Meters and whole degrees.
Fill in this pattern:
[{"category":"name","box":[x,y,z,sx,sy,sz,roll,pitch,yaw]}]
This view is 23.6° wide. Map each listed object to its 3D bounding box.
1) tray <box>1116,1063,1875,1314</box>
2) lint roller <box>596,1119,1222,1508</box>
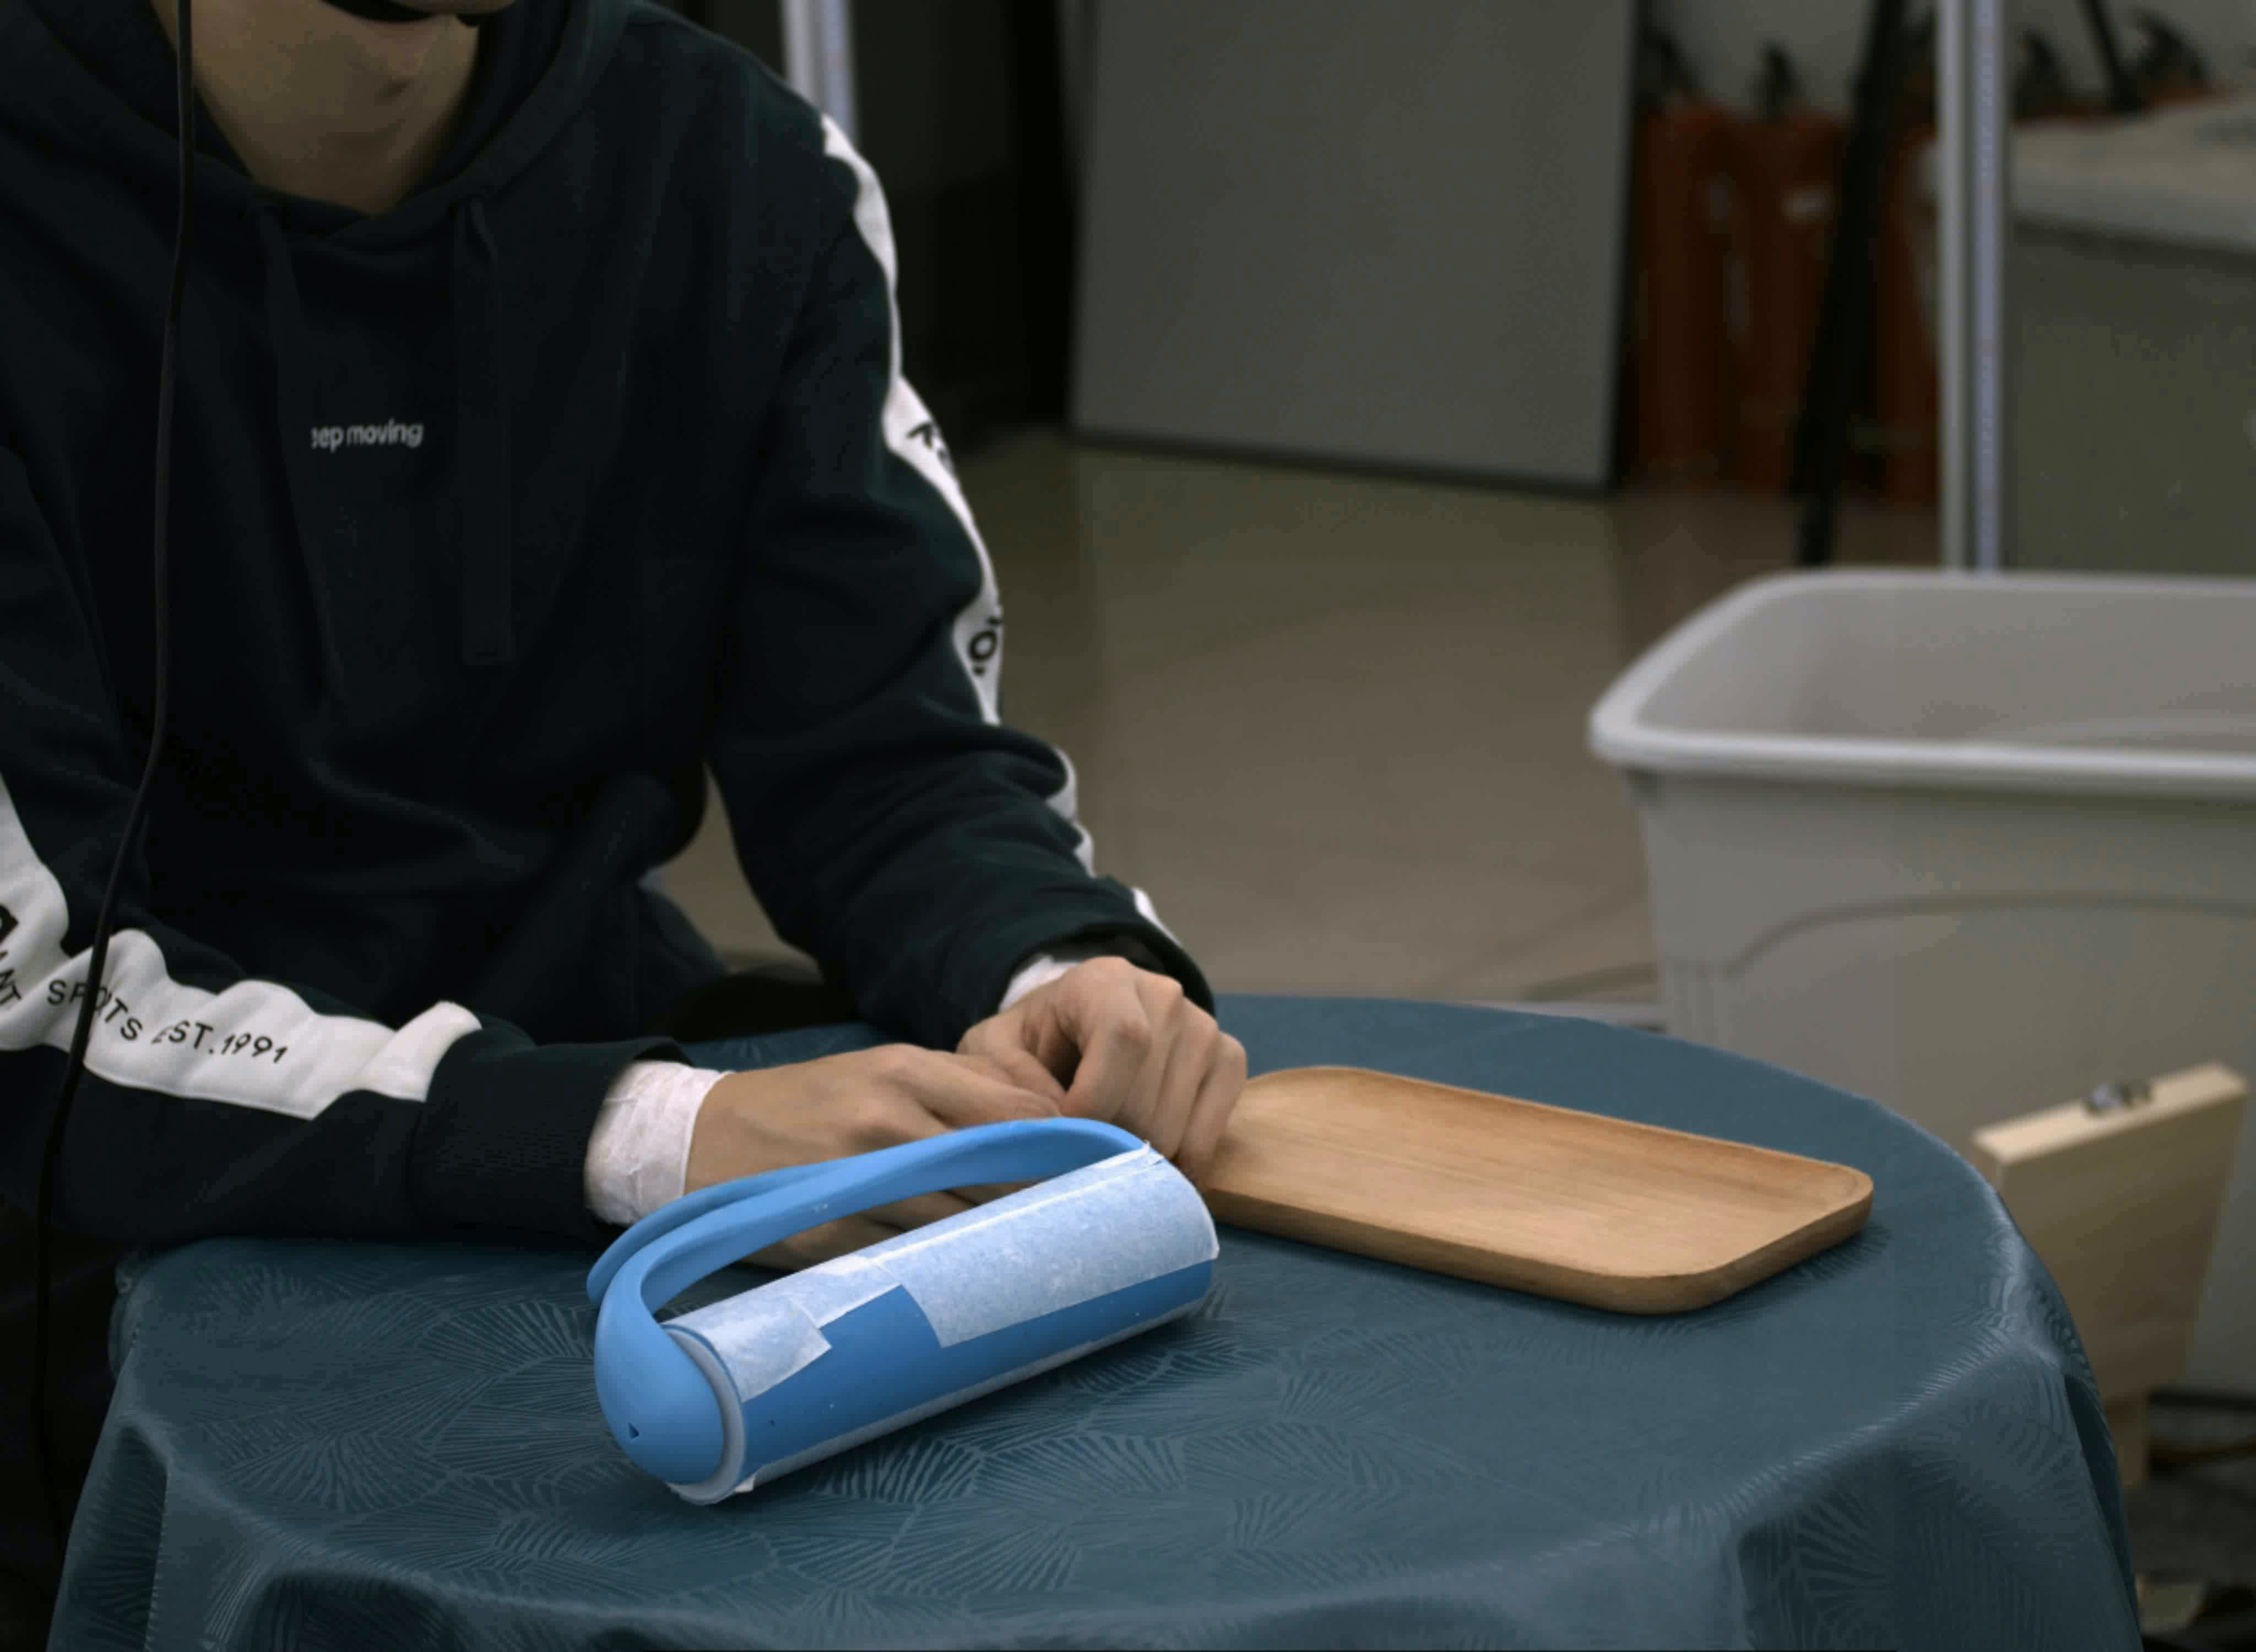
[{"category":"tray","box":[0.113,0.115,1.728,0.253,0.023,0.128,8,16,44]},{"category":"lint roller","box":[-0.100,0.136,1.619,0.182,0.068,0.224,9,21,42]}]
